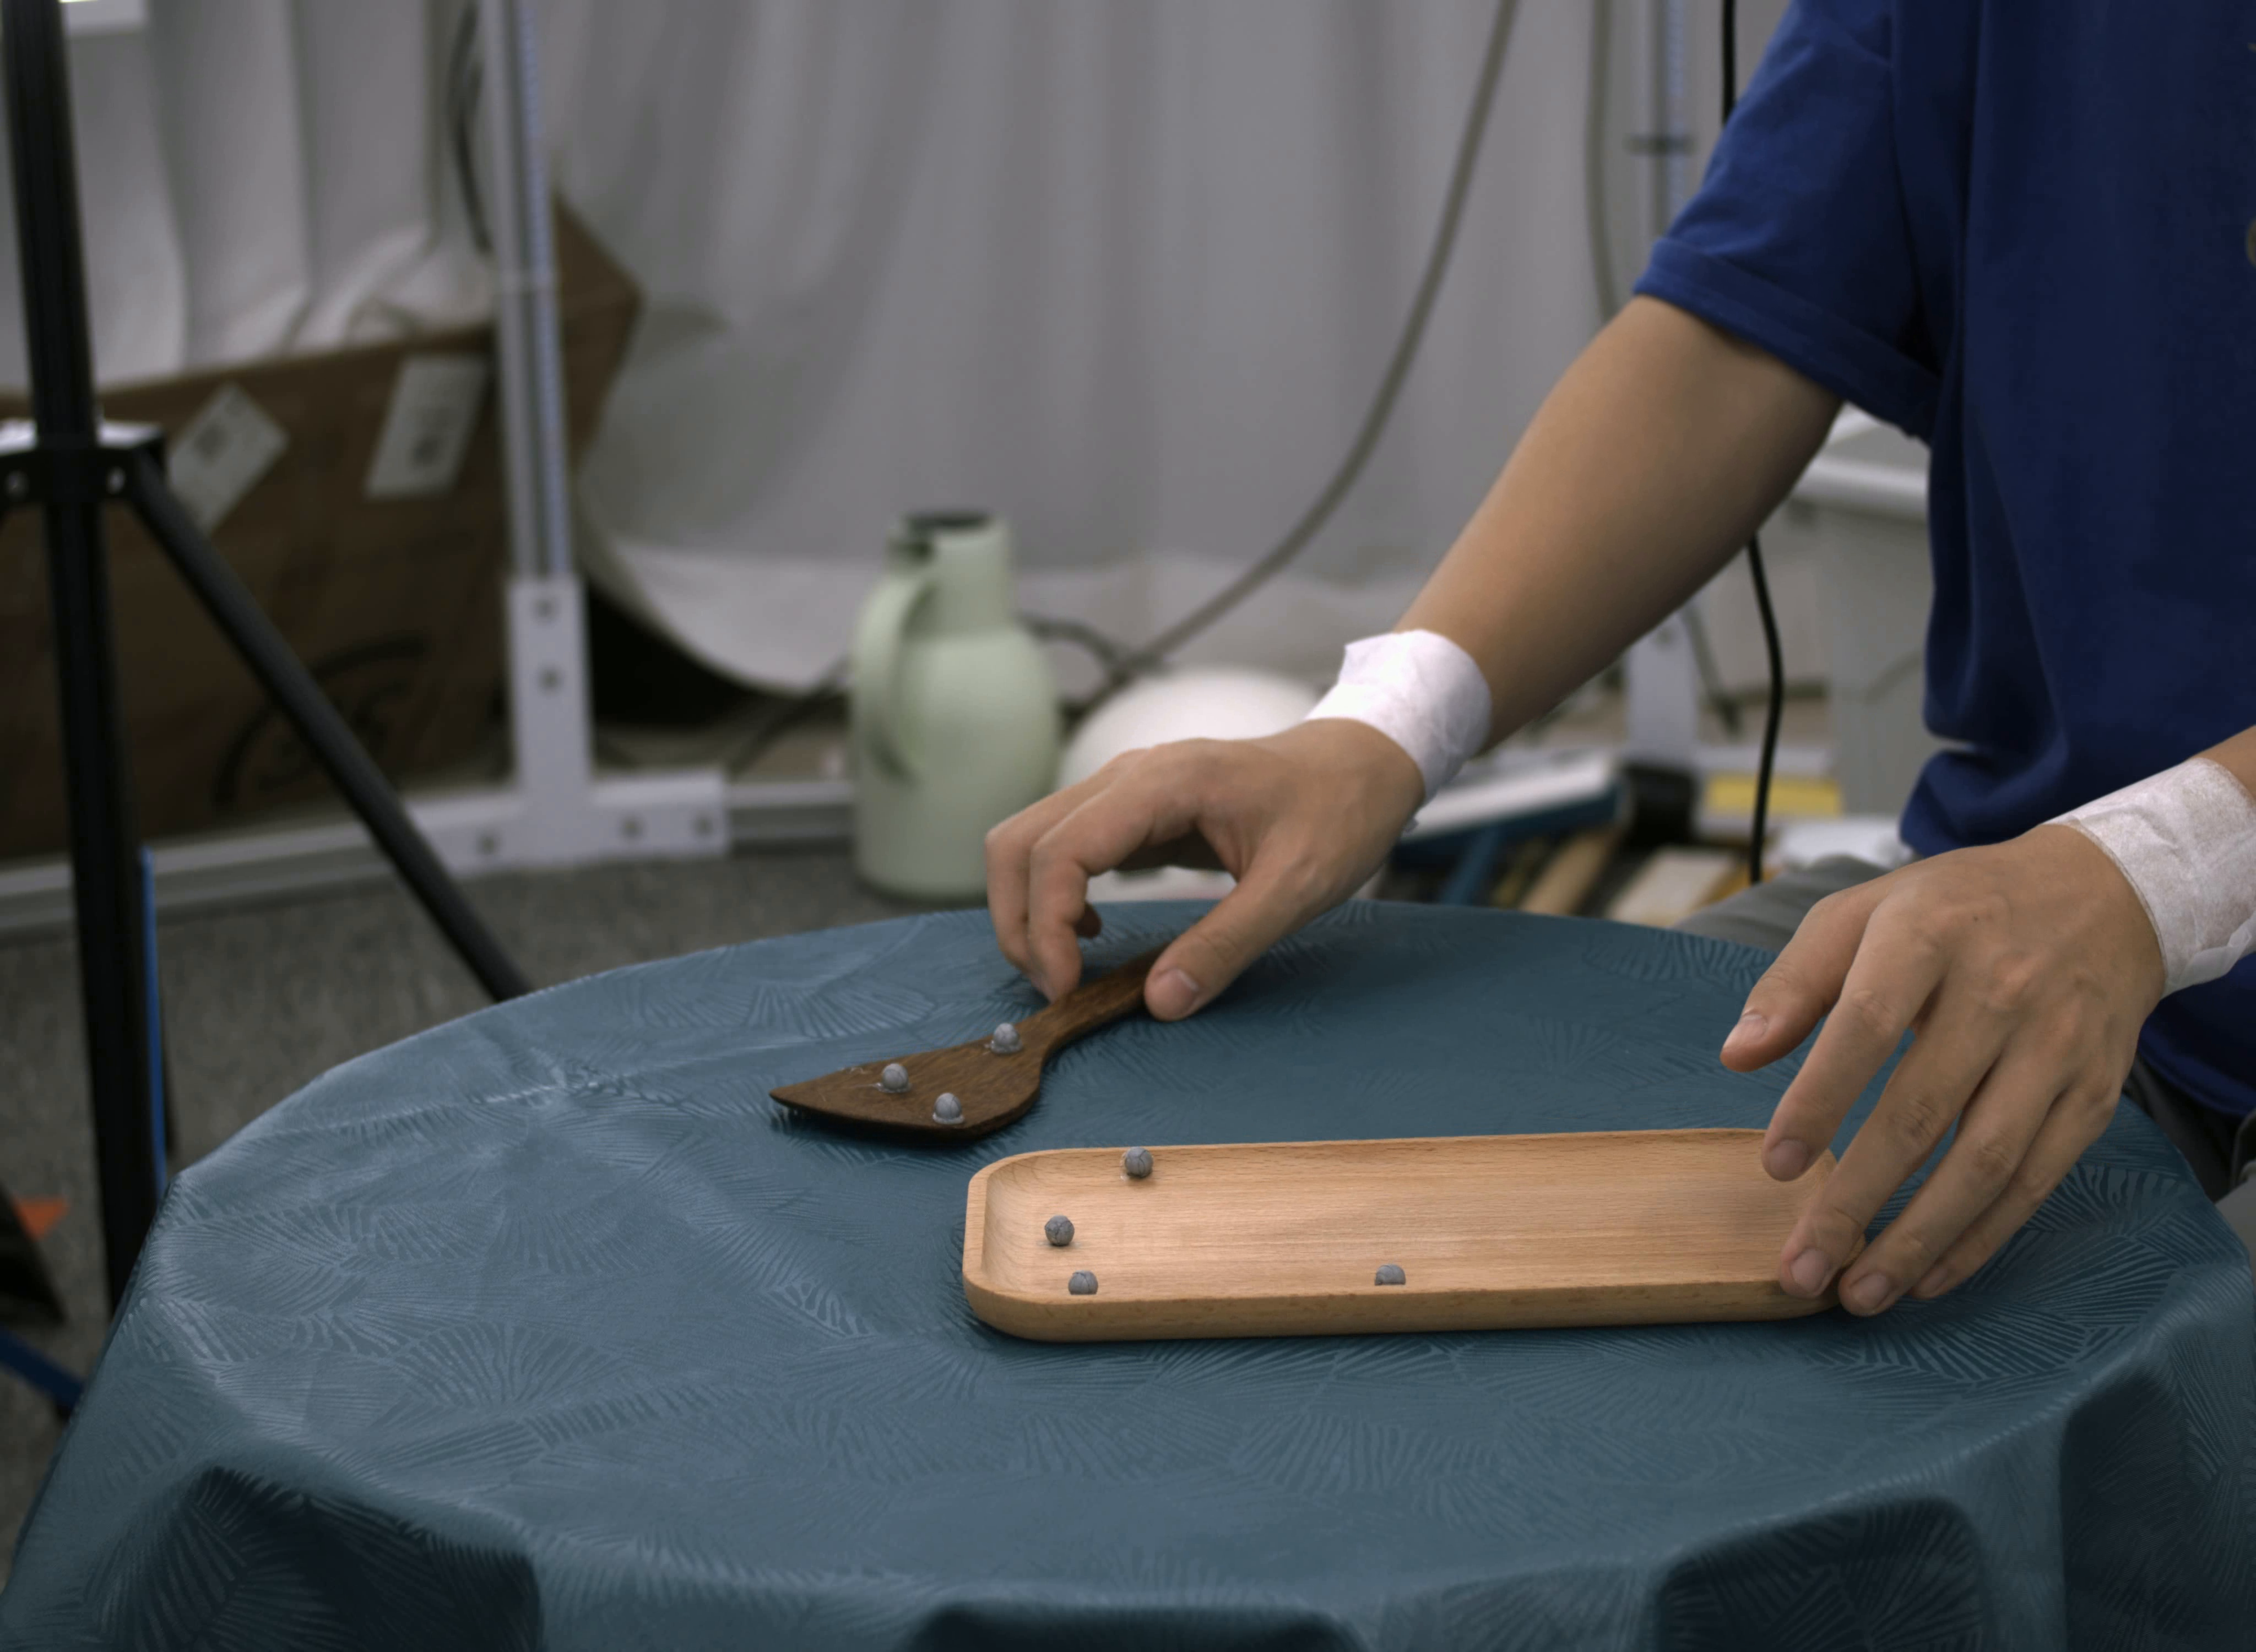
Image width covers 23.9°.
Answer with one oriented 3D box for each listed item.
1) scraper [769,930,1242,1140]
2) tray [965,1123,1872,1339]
[{"bbox_3d":[-0.027,0.065,1.694,0.077,0.011,0.207,10,21,33],"label":"scraper"},{"bbox_3d":[0.080,0.114,1.491,0.250,0.023,0.131,-1,18,3],"label":"tray"}]
